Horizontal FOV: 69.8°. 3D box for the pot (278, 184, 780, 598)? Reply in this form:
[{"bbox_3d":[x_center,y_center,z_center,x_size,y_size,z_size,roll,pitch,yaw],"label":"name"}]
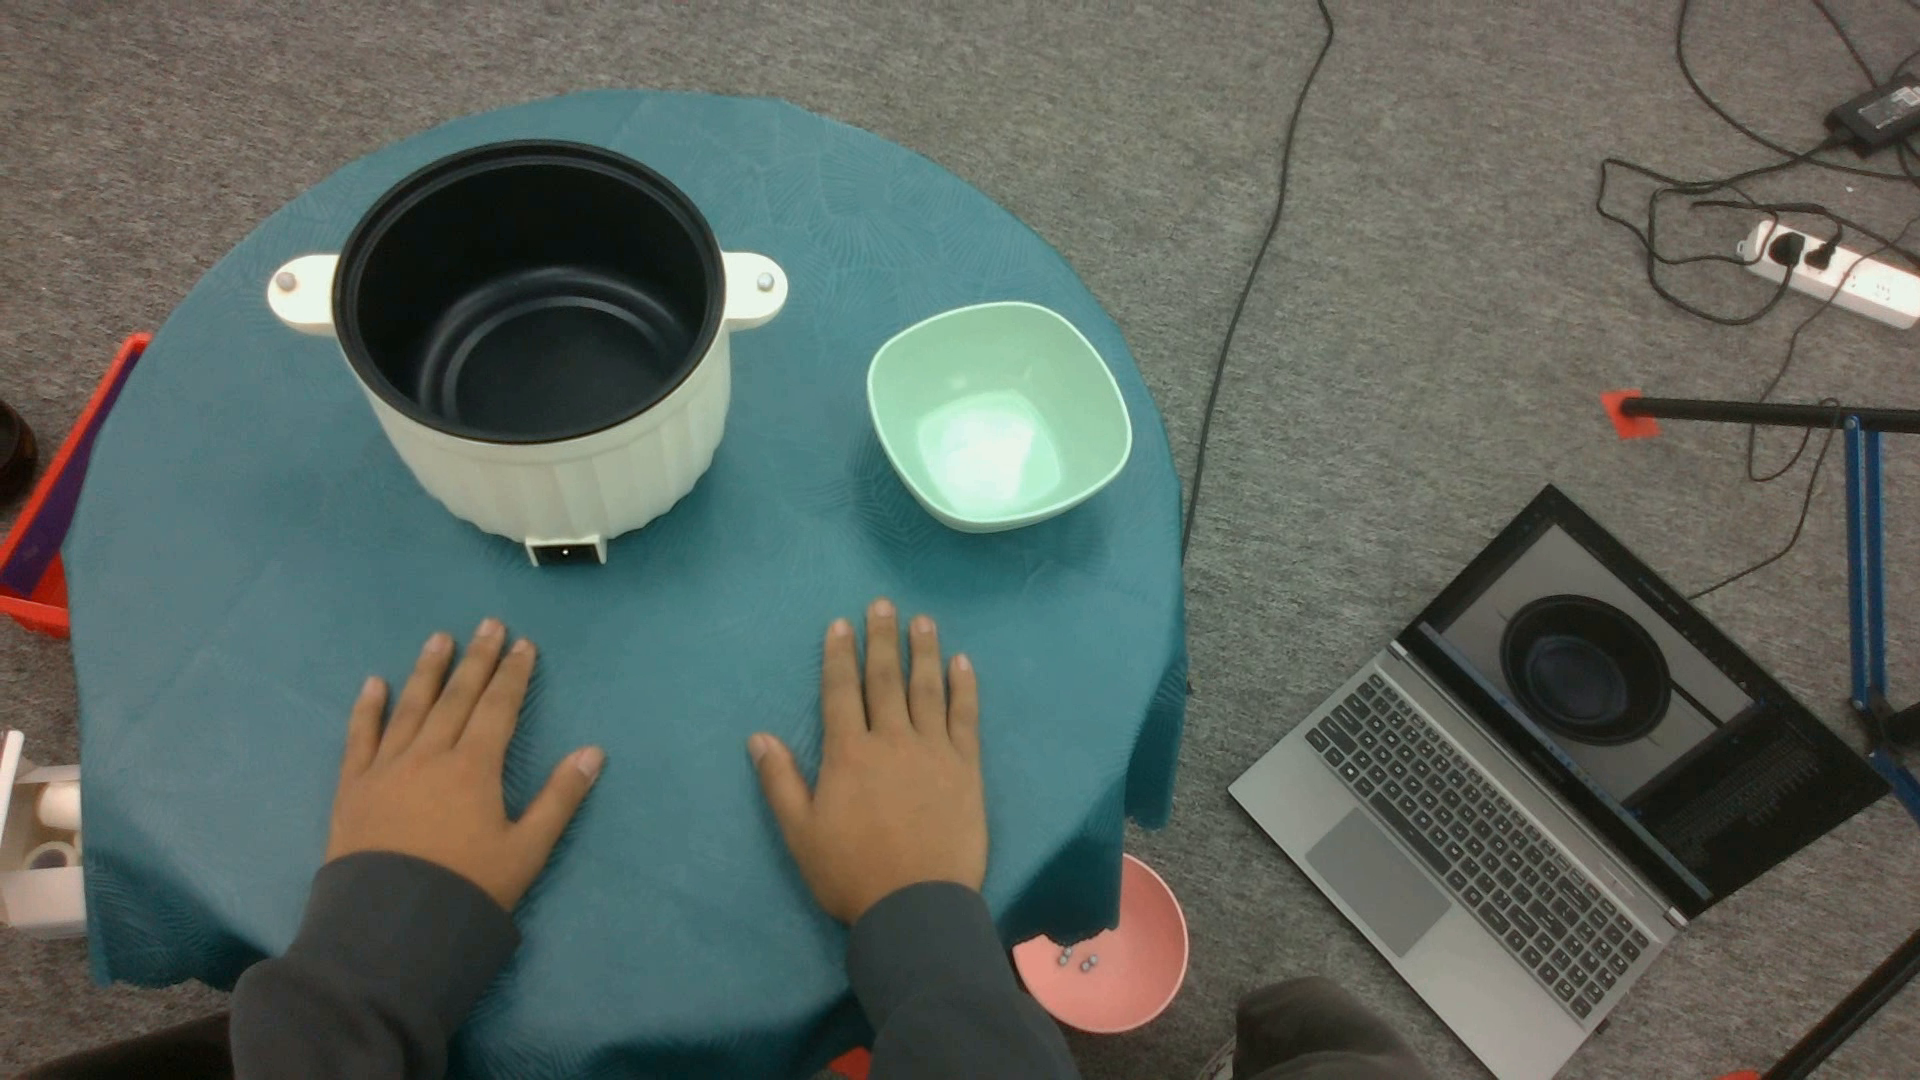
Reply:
[{"bbox_3d":[-0.217,-0.080,0.737,0.240,0.142,0.191,-6,65,-10],"label":"pot"}]

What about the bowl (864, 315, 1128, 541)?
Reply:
[{"bbox_3d":[0.018,-0.055,0.791,0.151,0.058,0.152,2,59,-3],"label":"bowl"}]
